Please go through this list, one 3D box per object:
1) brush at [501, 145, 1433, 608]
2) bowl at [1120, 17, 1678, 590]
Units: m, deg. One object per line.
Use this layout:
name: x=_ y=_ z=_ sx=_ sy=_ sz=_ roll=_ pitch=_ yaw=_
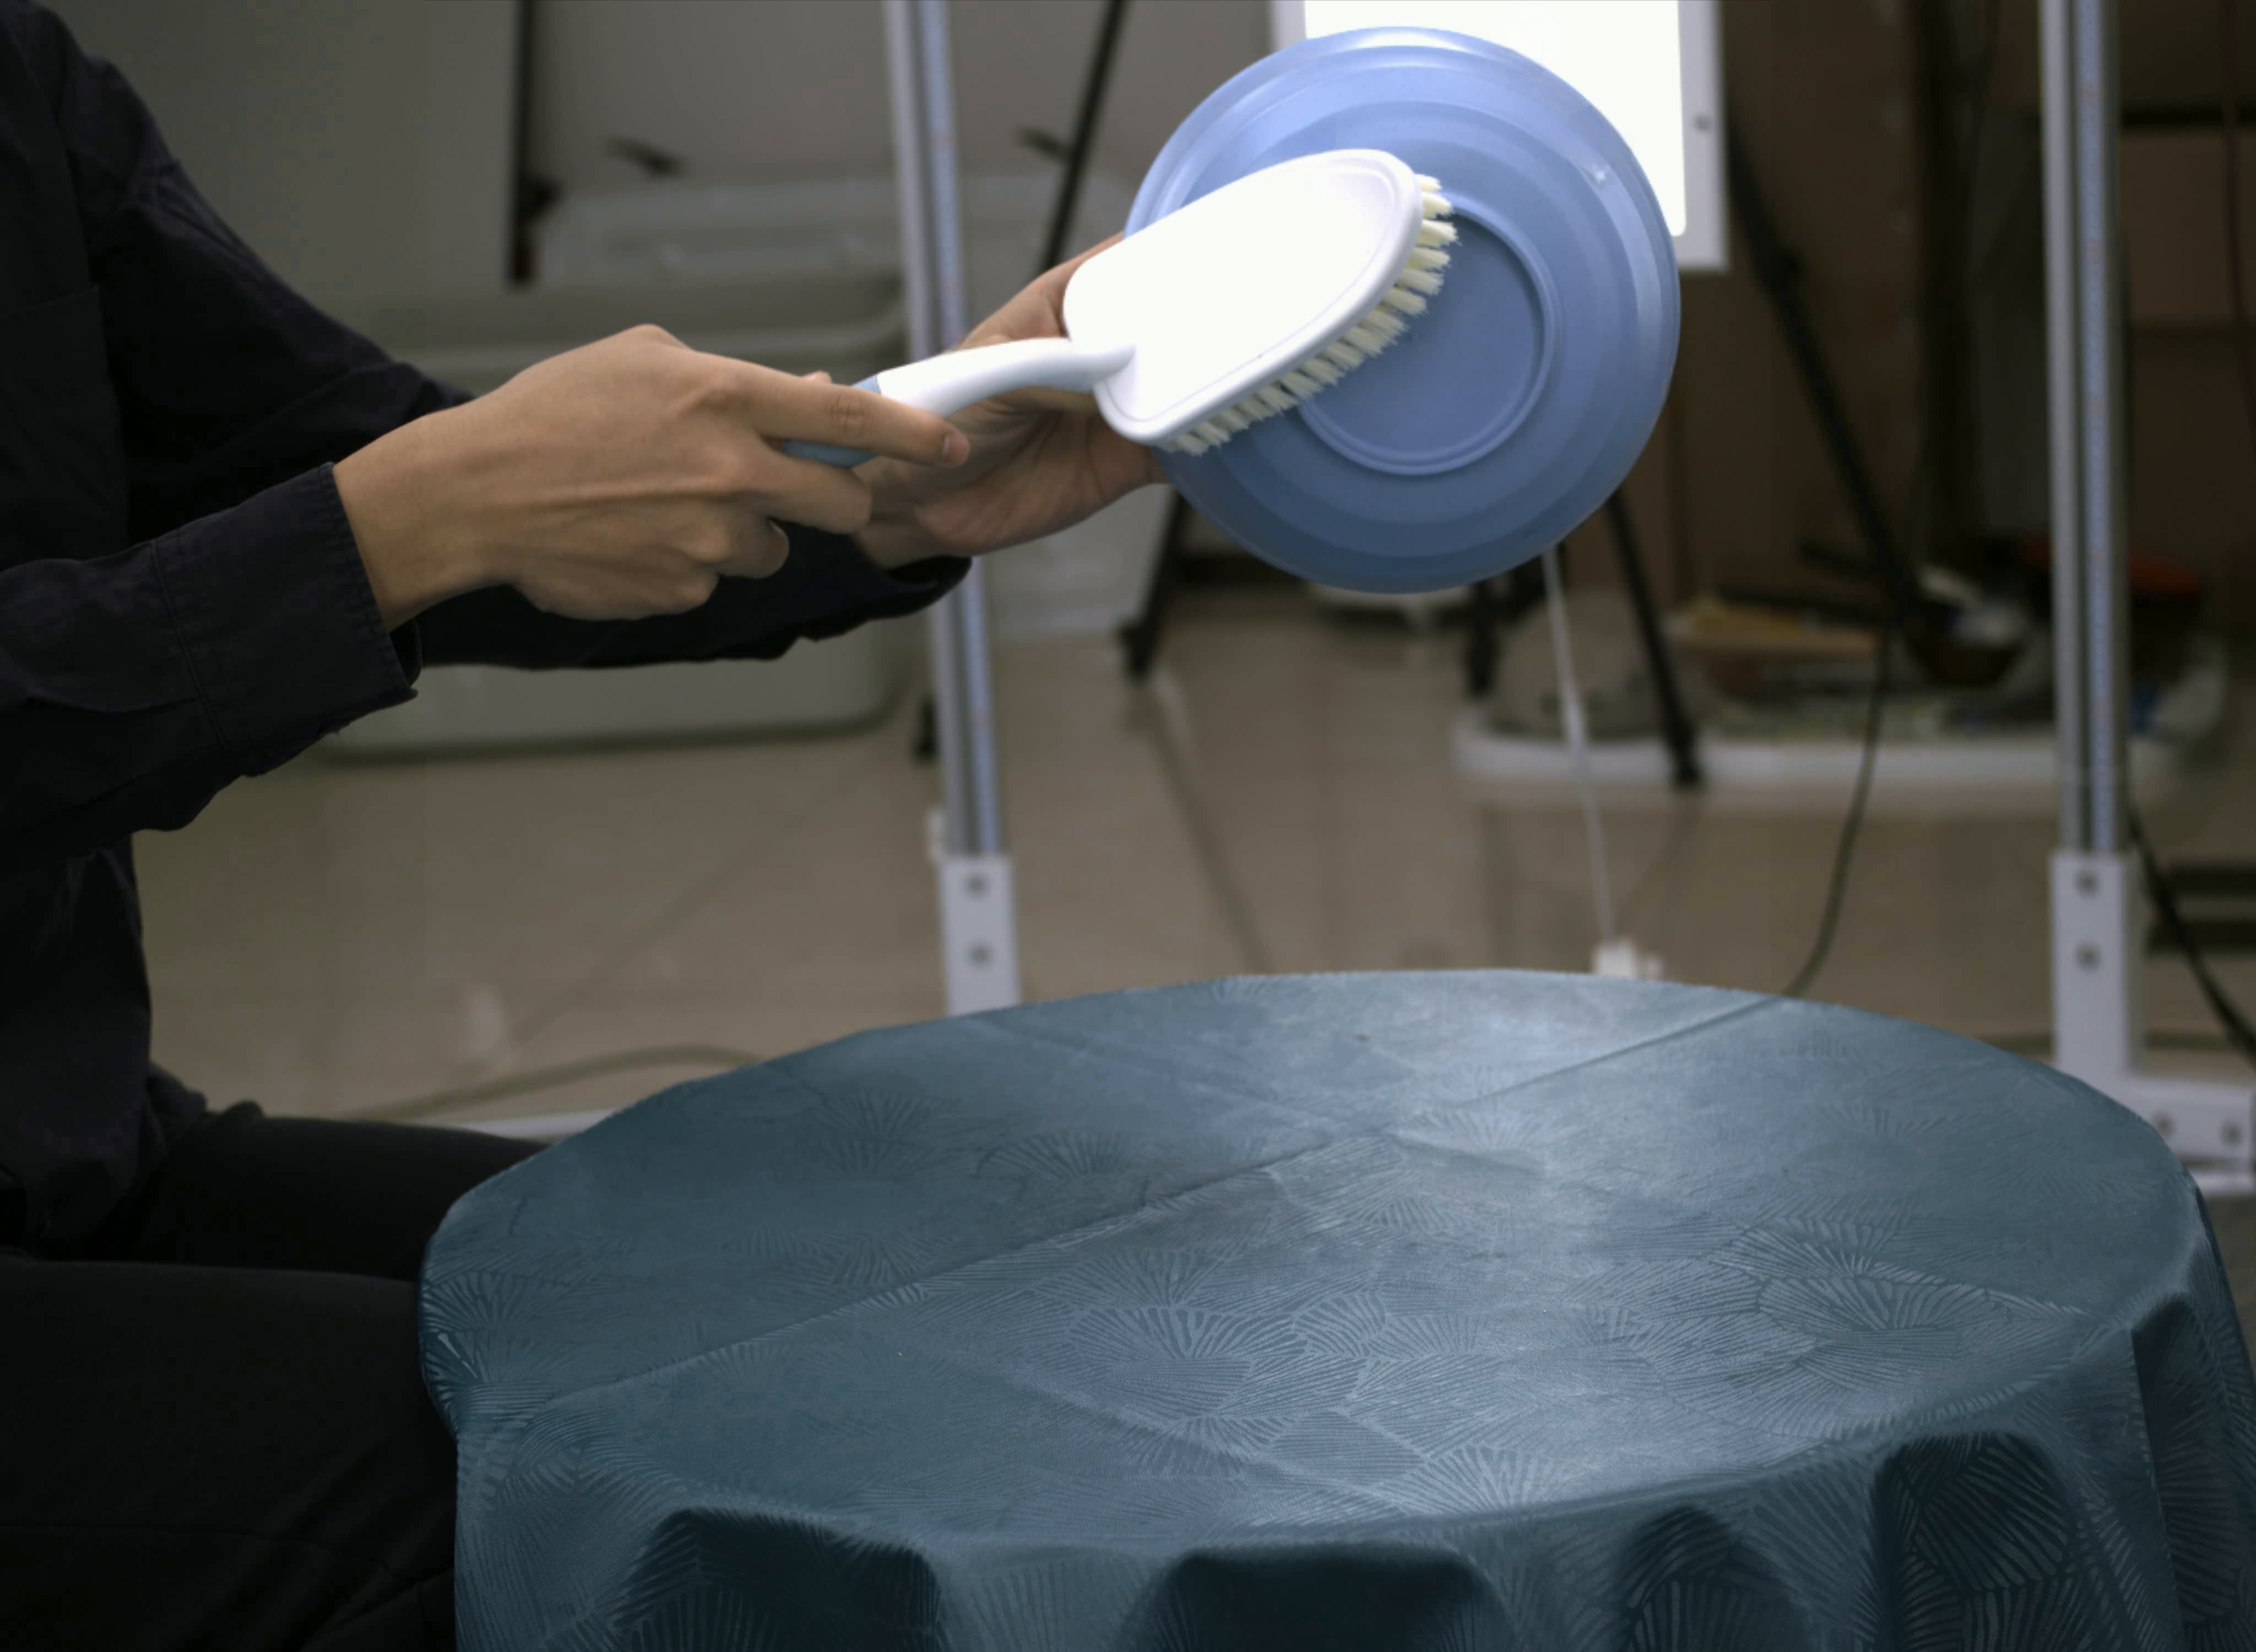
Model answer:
brush: x=-0.051 y=-0.141 z=1.800 sx=0.327 sy=0.084 sz=0.083 roll=-24 pitch=37 yaw=9
bowl: x=0.093 y=-0.170 z=1.841 sx=0.196 sy=0.197 sz=0.095 roll=-4 pitch=11 yaw=2
